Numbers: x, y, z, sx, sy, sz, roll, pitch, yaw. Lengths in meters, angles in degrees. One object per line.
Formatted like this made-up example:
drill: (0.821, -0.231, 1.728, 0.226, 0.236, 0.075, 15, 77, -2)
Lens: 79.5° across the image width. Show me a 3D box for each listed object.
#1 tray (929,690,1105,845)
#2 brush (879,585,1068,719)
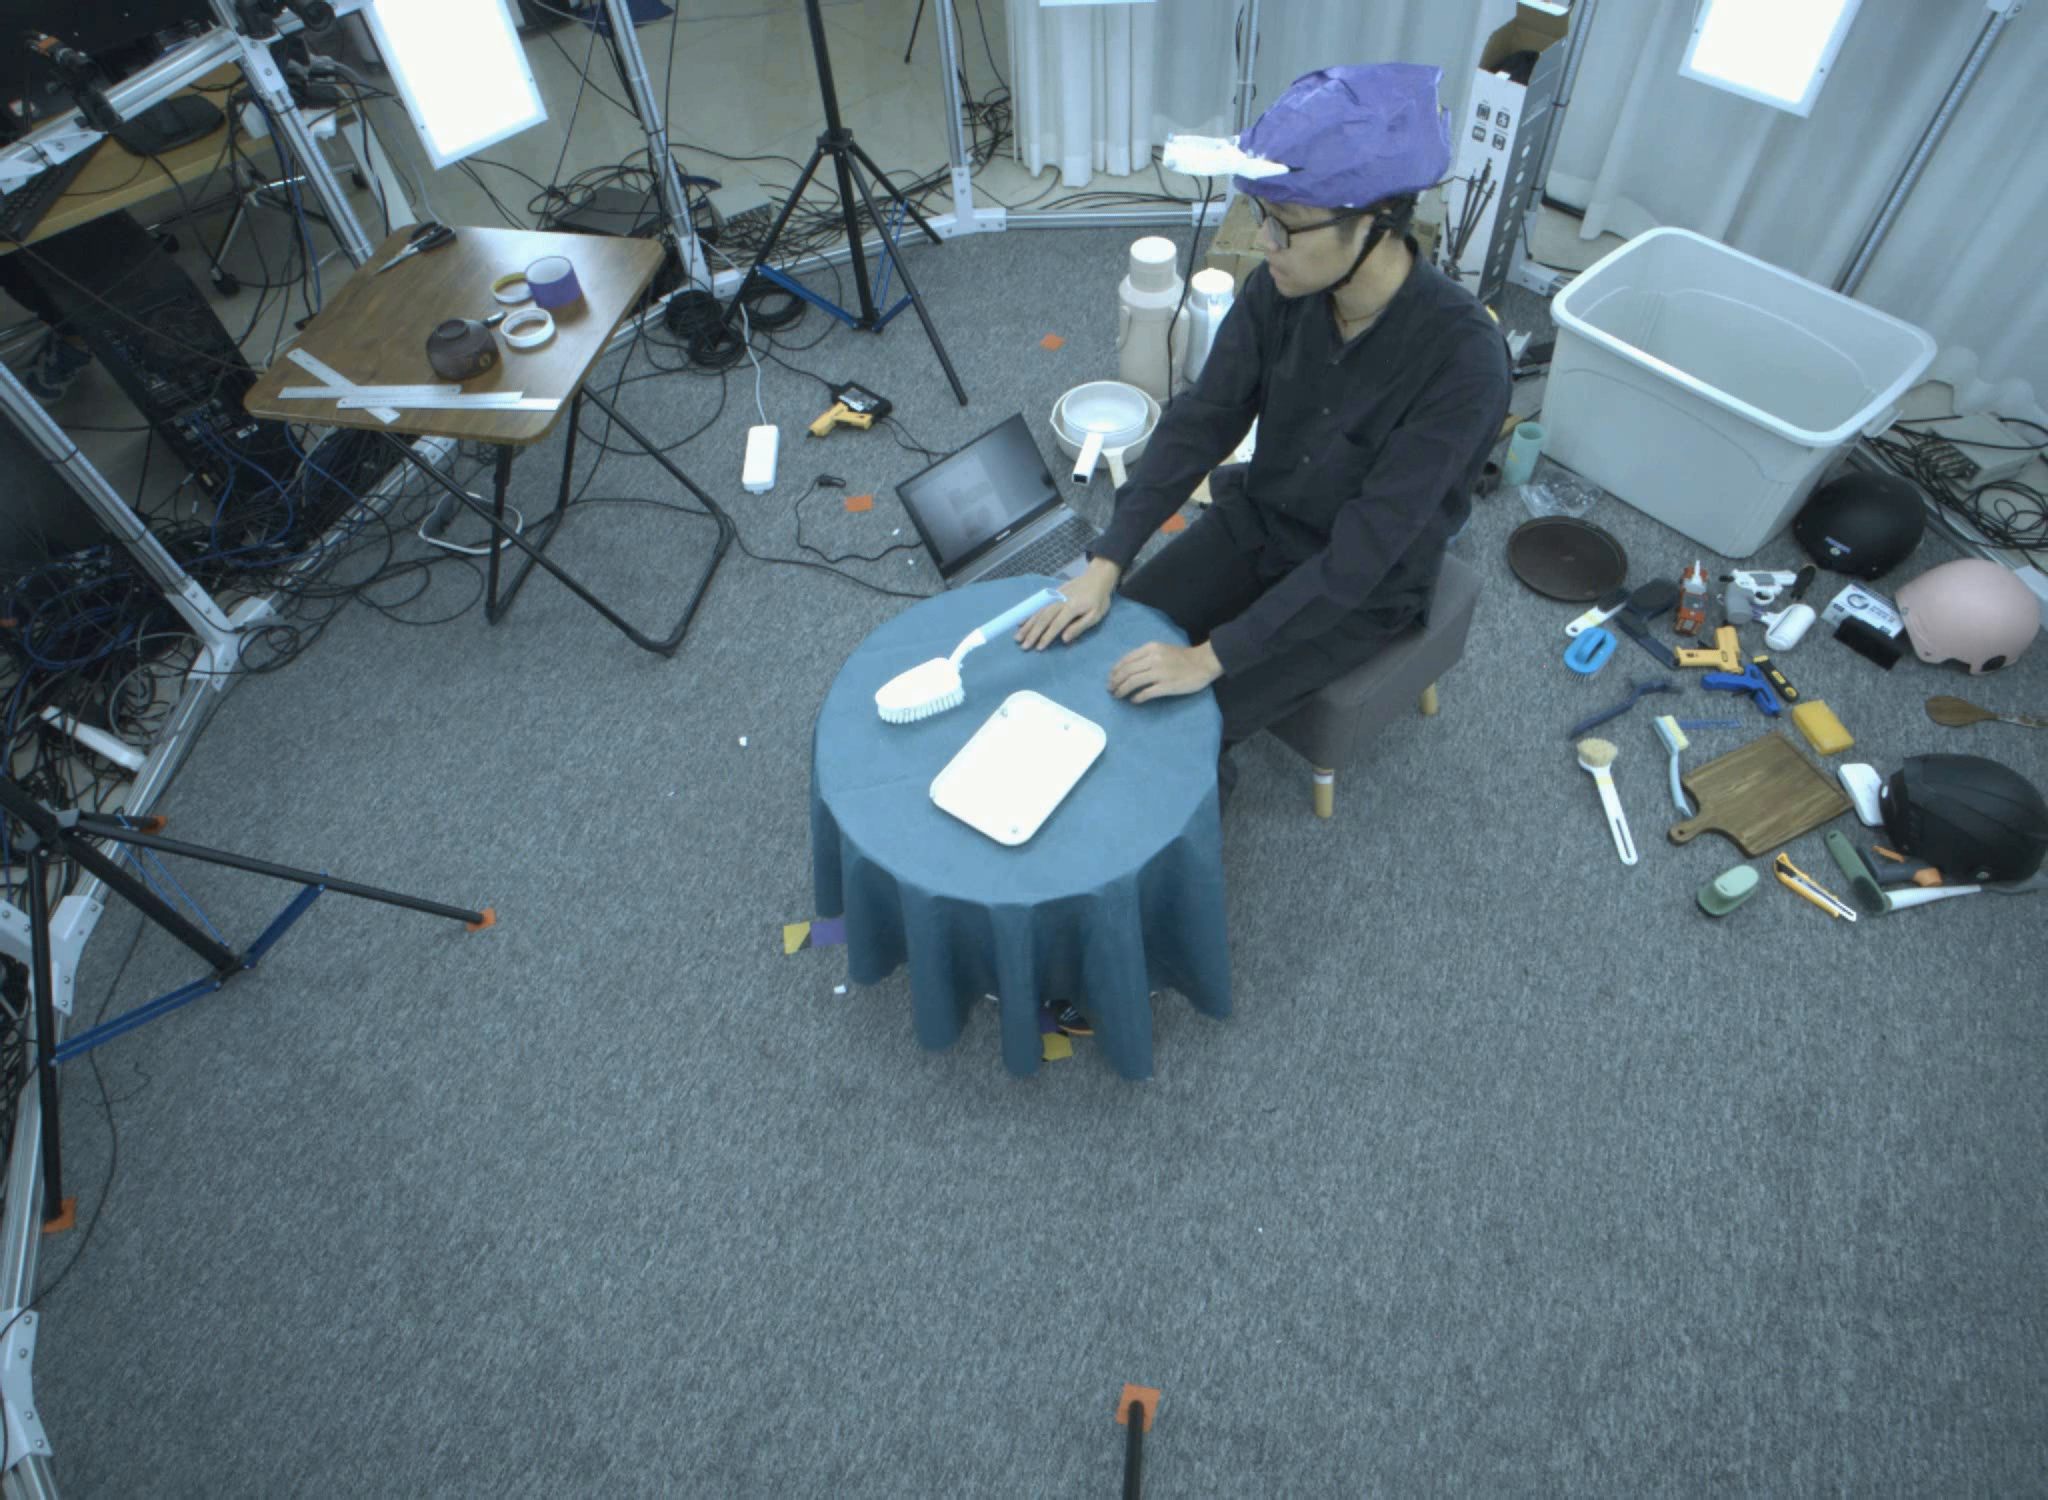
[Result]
tray: (-0.008, 0.024, 1.761, 0.168, 0.017, 0.241, 30, 61, 21)
brush: (-0.068, -0.136, 1.835, 0.326, 0.084, 0.083, -31, 95, -5)
